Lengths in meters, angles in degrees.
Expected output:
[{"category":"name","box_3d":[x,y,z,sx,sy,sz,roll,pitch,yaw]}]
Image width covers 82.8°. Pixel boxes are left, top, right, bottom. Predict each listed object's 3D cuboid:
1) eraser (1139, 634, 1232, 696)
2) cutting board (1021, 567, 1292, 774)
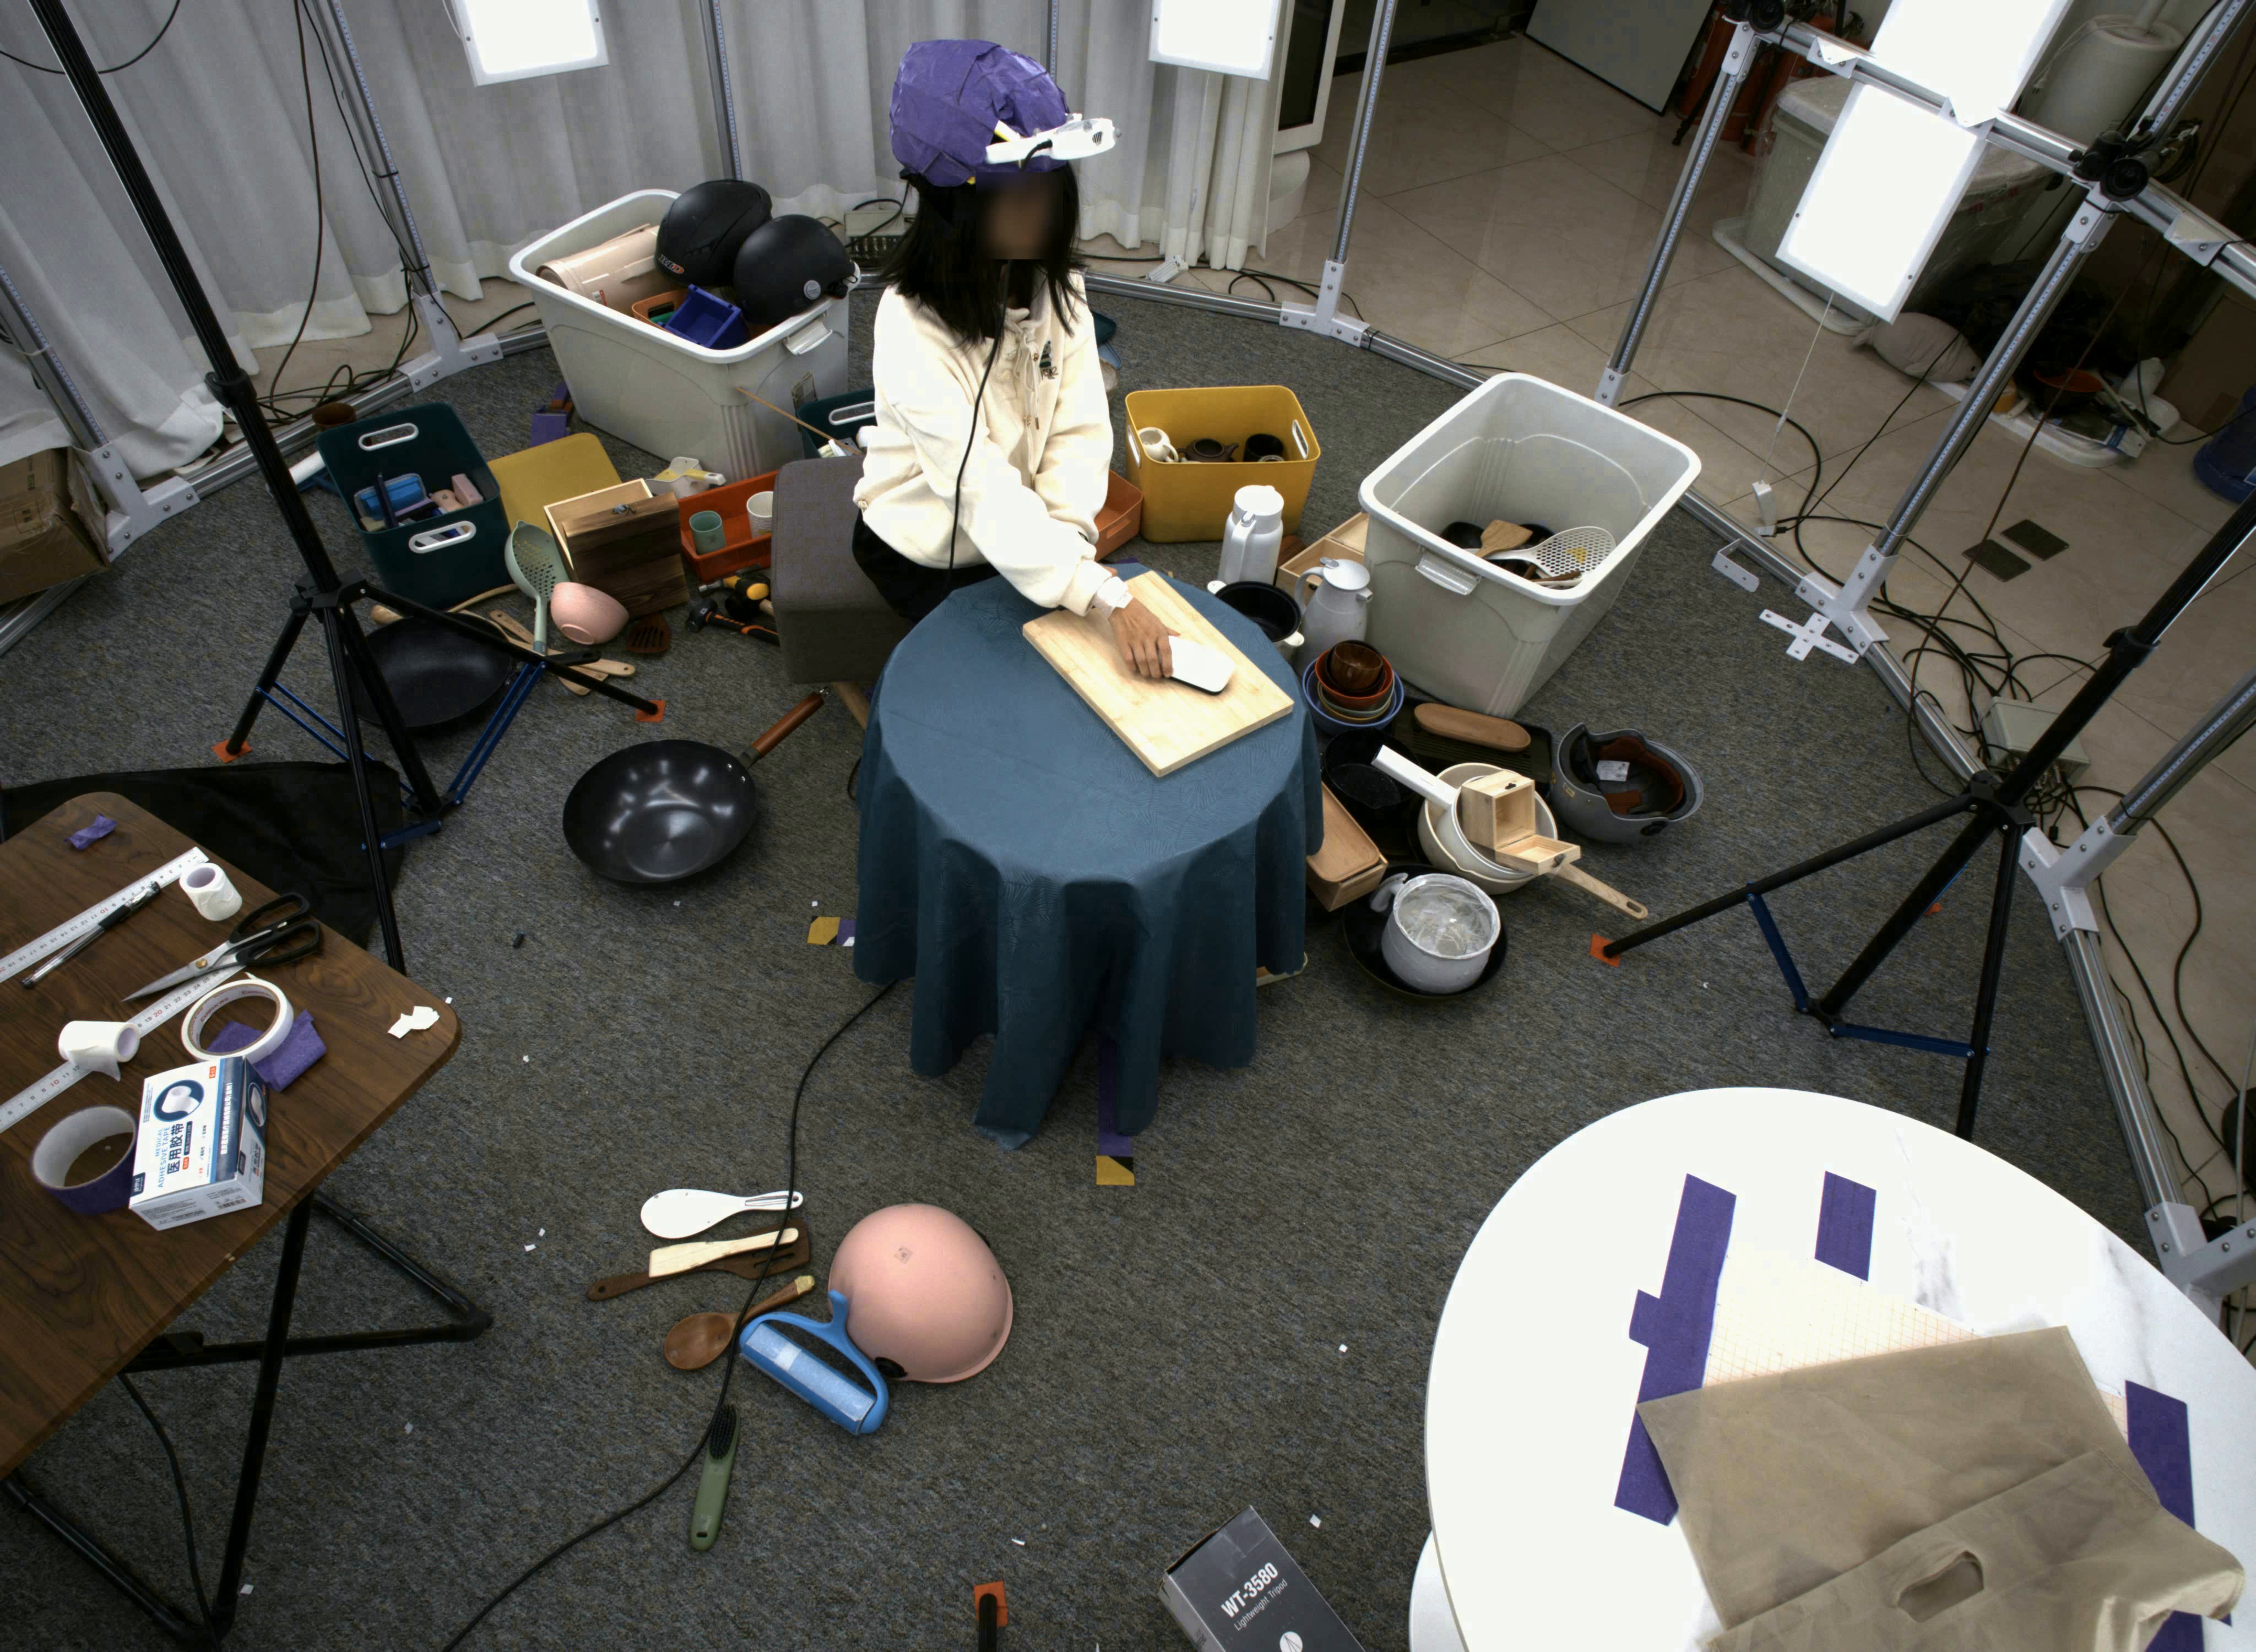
[{"category":"eraser","box_3d":[0.082,-0.234,1.836,0.132,0.034,0.064,24,52,15]},{"category":"cutting board","box_3d":[0.037,-0.234,1.865,0.252,0.023,0.355,-27,56,-25]}]
